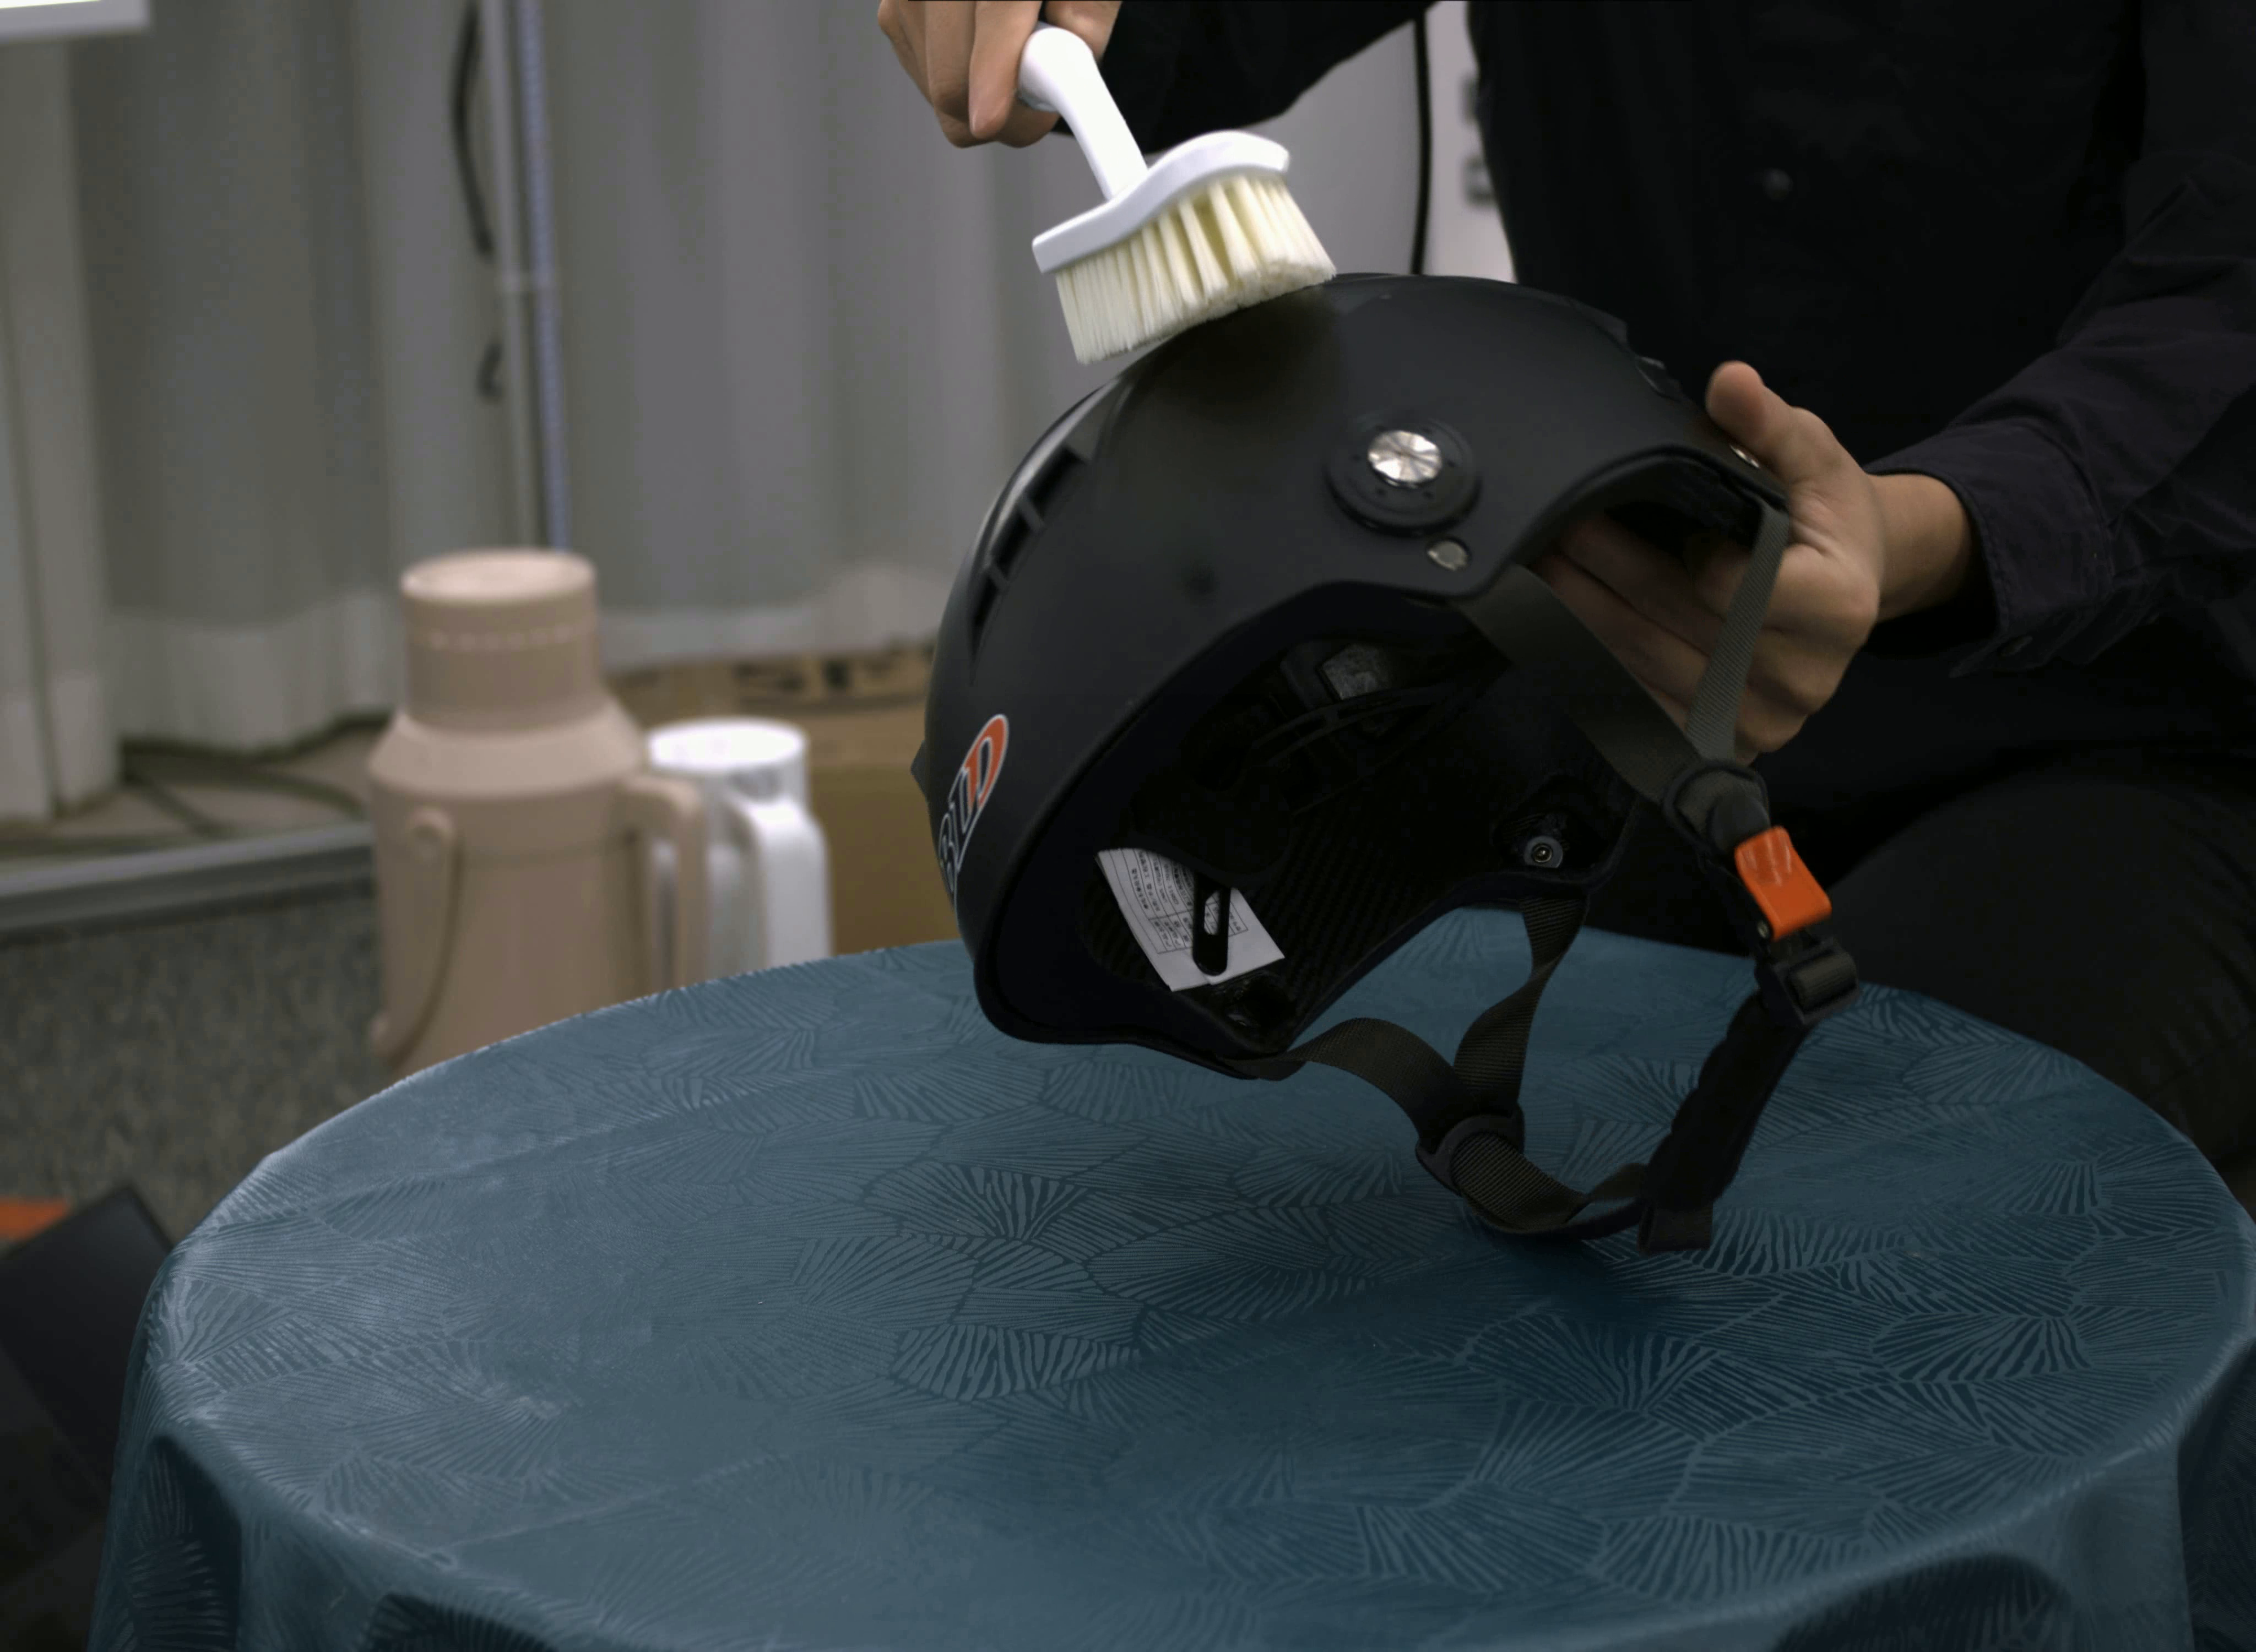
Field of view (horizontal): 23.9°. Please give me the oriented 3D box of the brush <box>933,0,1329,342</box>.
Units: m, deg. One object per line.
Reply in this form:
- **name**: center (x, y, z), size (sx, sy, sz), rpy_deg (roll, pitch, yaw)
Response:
- **brush**: center (-0.002, -0.185, 1.554), size (0.082, 0.085, 0.329), rpy_deg (17, 9, -16)

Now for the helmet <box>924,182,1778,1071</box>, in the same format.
- **helmet**: center (0.050, -0.064, 1.498), size (0.271, 0.247, 0.175), rpy_deg (-22, 58, -30)
